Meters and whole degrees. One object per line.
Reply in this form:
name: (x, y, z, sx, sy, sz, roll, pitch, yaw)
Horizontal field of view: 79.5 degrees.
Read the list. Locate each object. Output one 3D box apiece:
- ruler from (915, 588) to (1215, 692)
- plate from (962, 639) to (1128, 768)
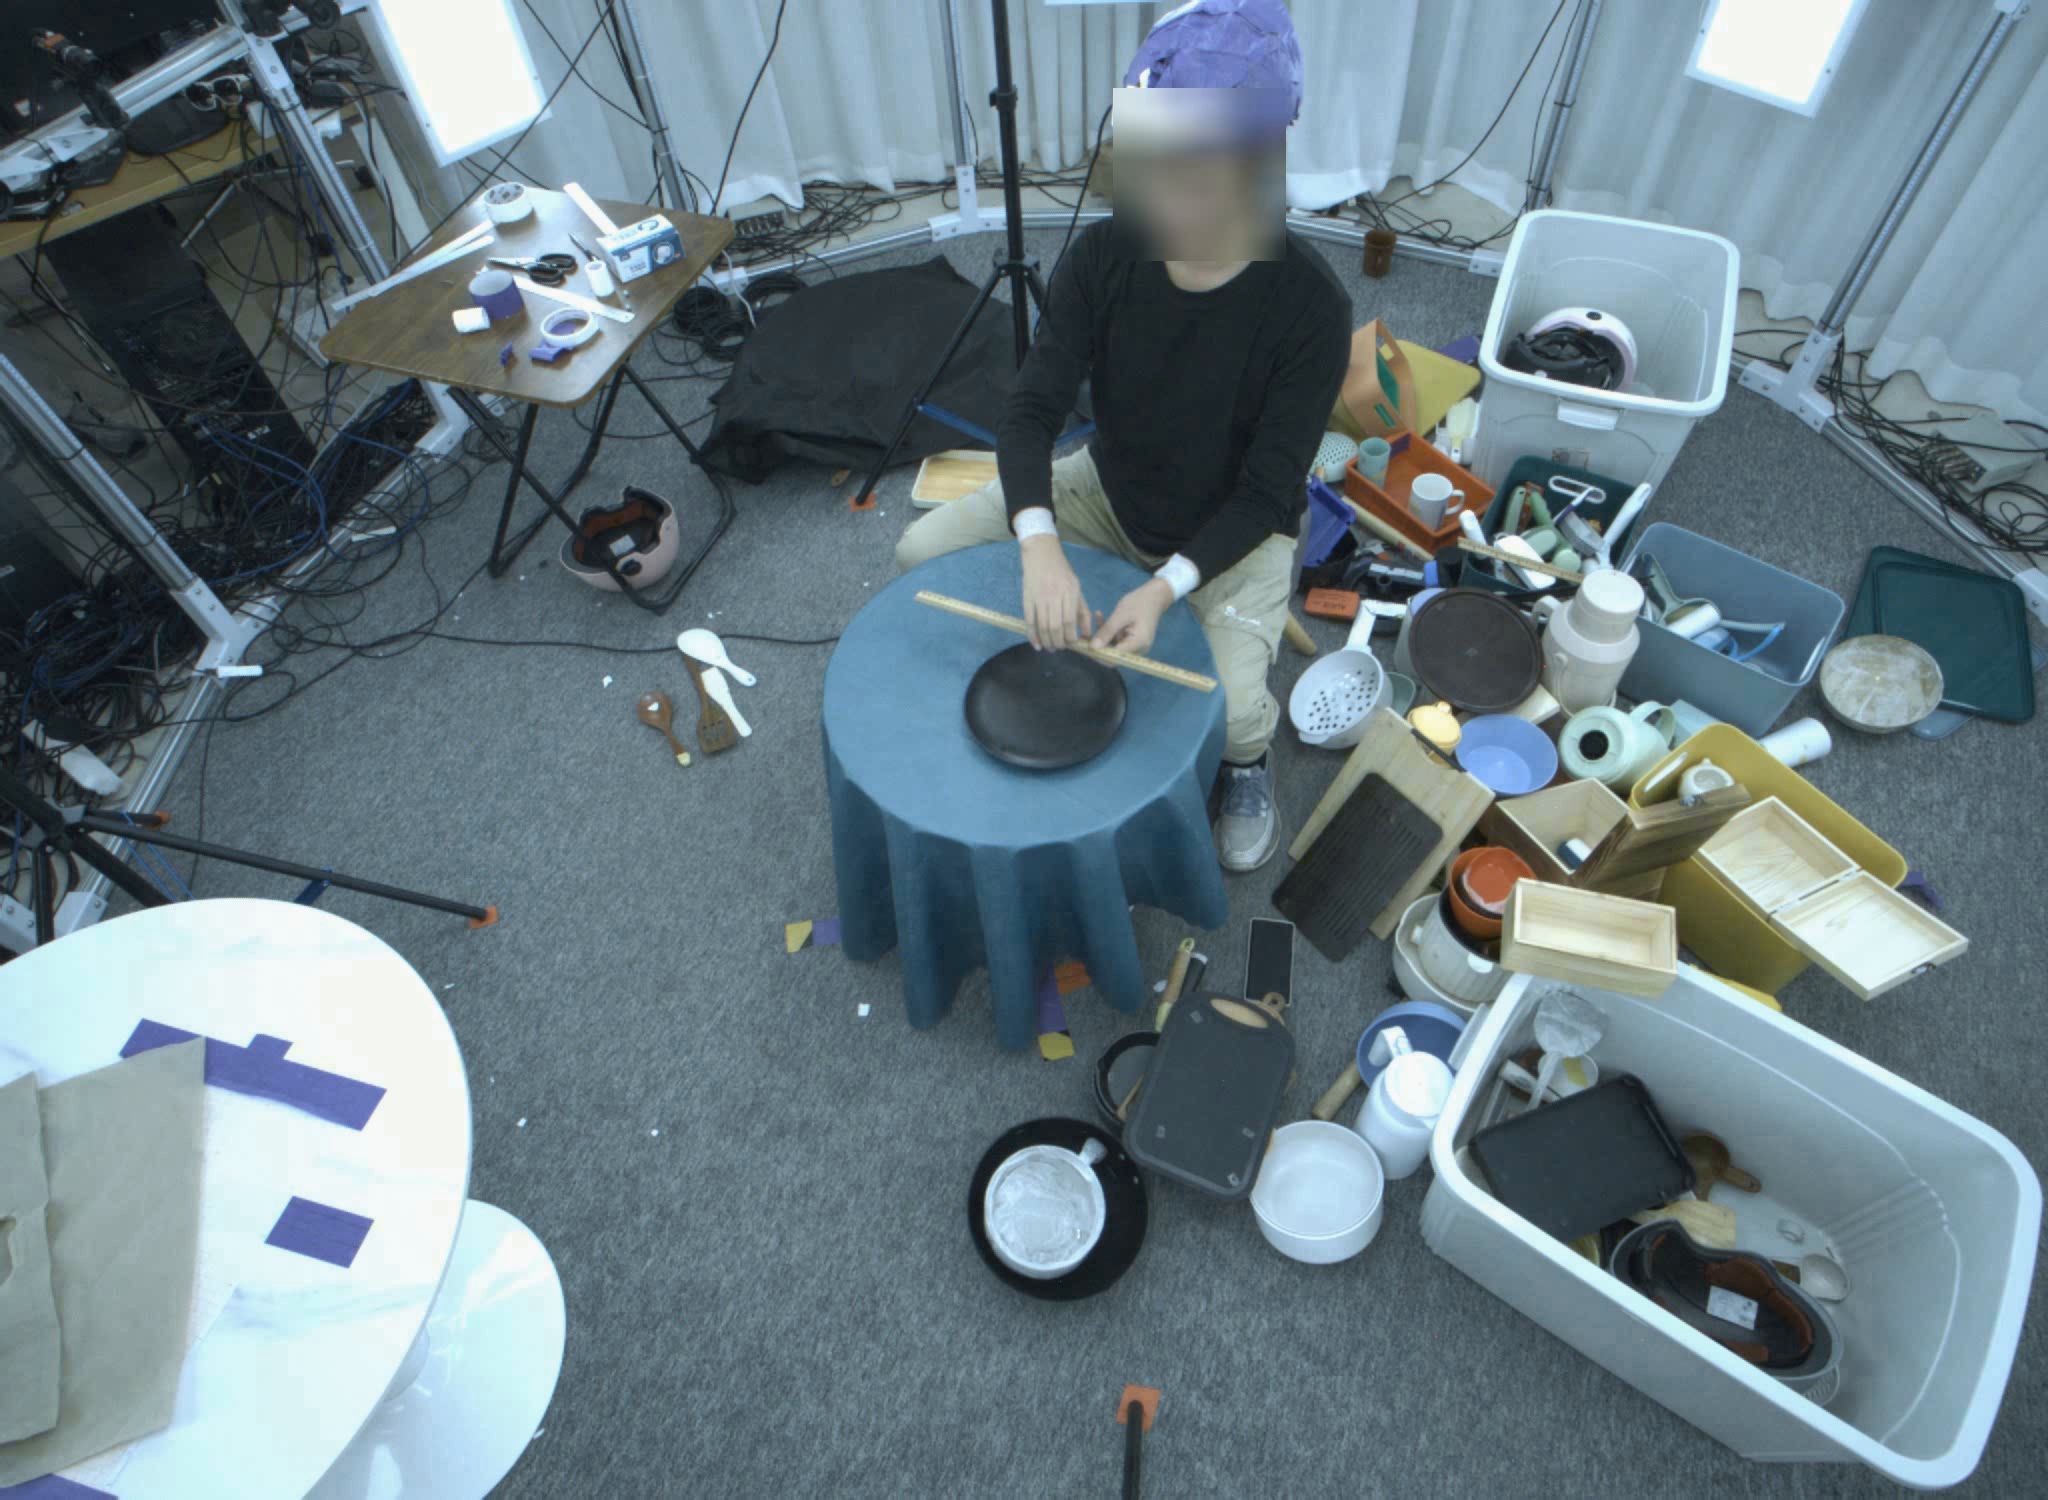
ruler: (0.047, -0.164, 1.777, 0.491, 0.006, 0.027, 21, 46, 25)
plate: (0.032, -0.066, 1.819, 0.244, 0.024, 0.242, 0, 55, 2)
